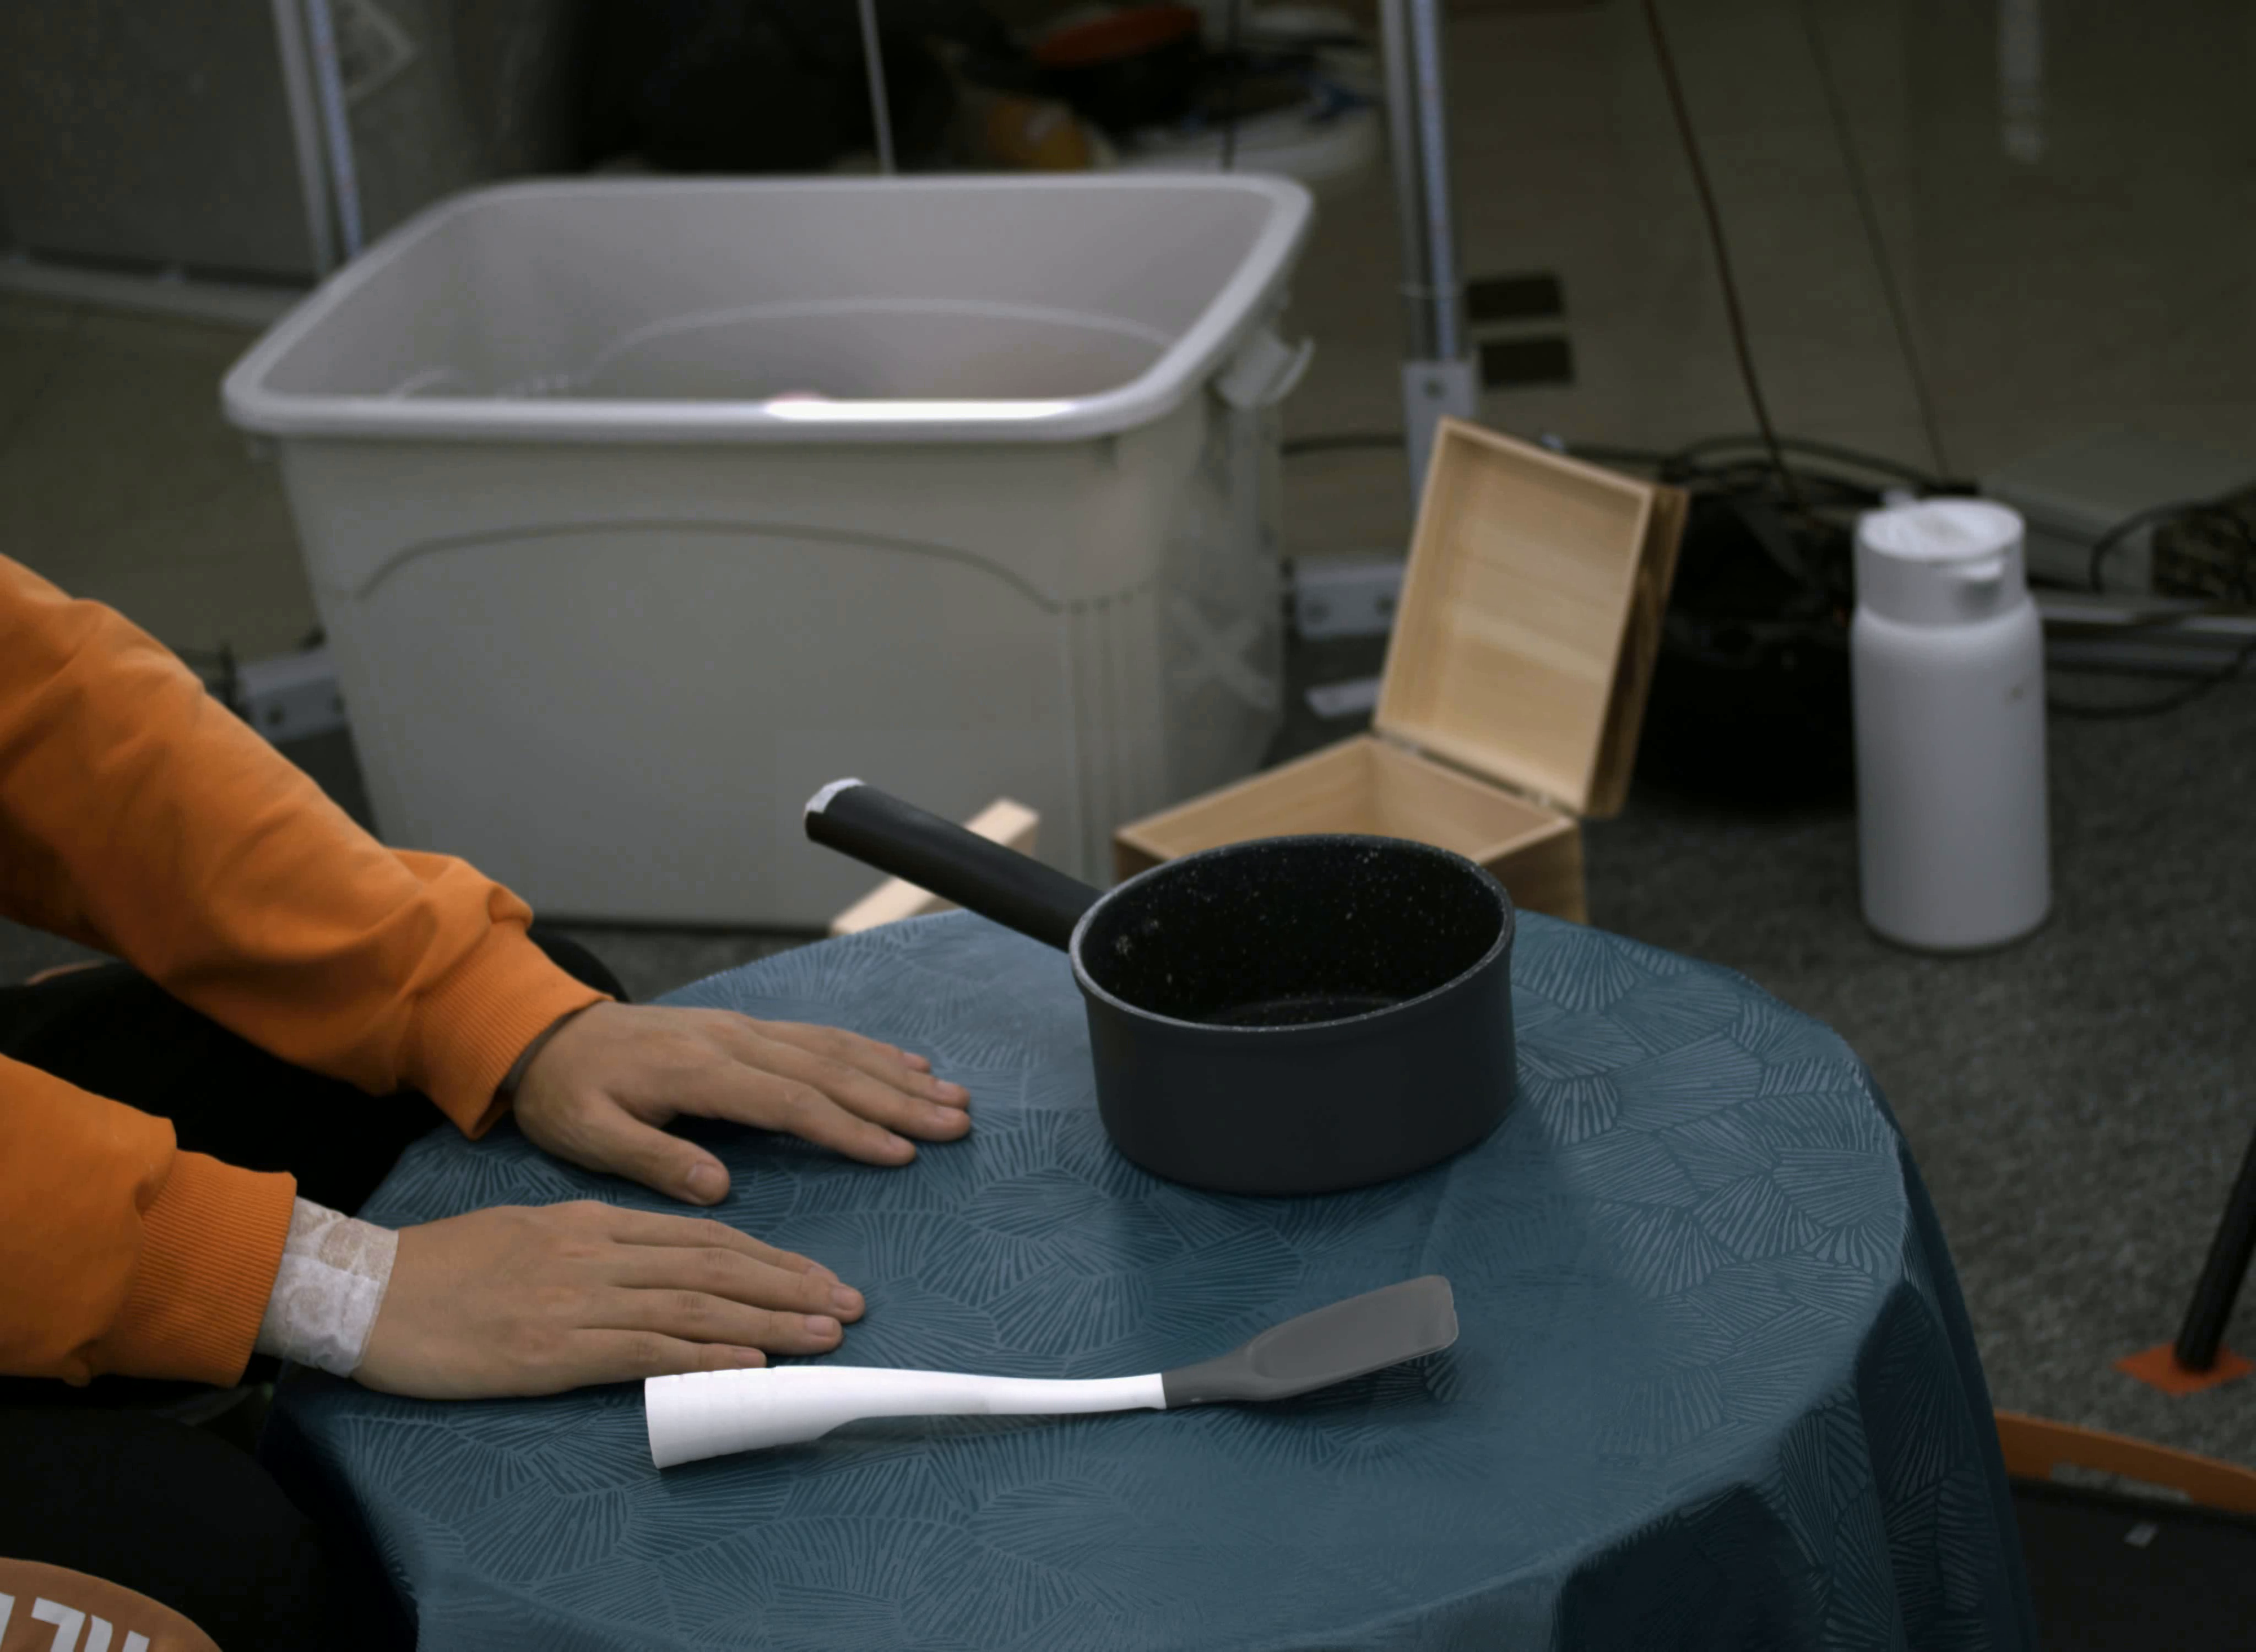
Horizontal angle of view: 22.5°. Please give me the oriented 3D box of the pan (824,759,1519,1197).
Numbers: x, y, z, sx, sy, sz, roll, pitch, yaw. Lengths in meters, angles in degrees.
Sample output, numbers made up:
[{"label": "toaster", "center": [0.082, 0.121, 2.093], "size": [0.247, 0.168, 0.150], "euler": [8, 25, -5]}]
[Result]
[{"label": "pan", "center": [0.007, 0.052, 2.228], "size": [0.326, 0.088, 0.170], "euler": [18, 34, 38]}]

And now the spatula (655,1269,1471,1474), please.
[{"label": "spatula", "center": [-0.022, 0.194, 1.997], "size": [0.287, 0.032, 0.058], "euler": [-7, 22, 0]}]
